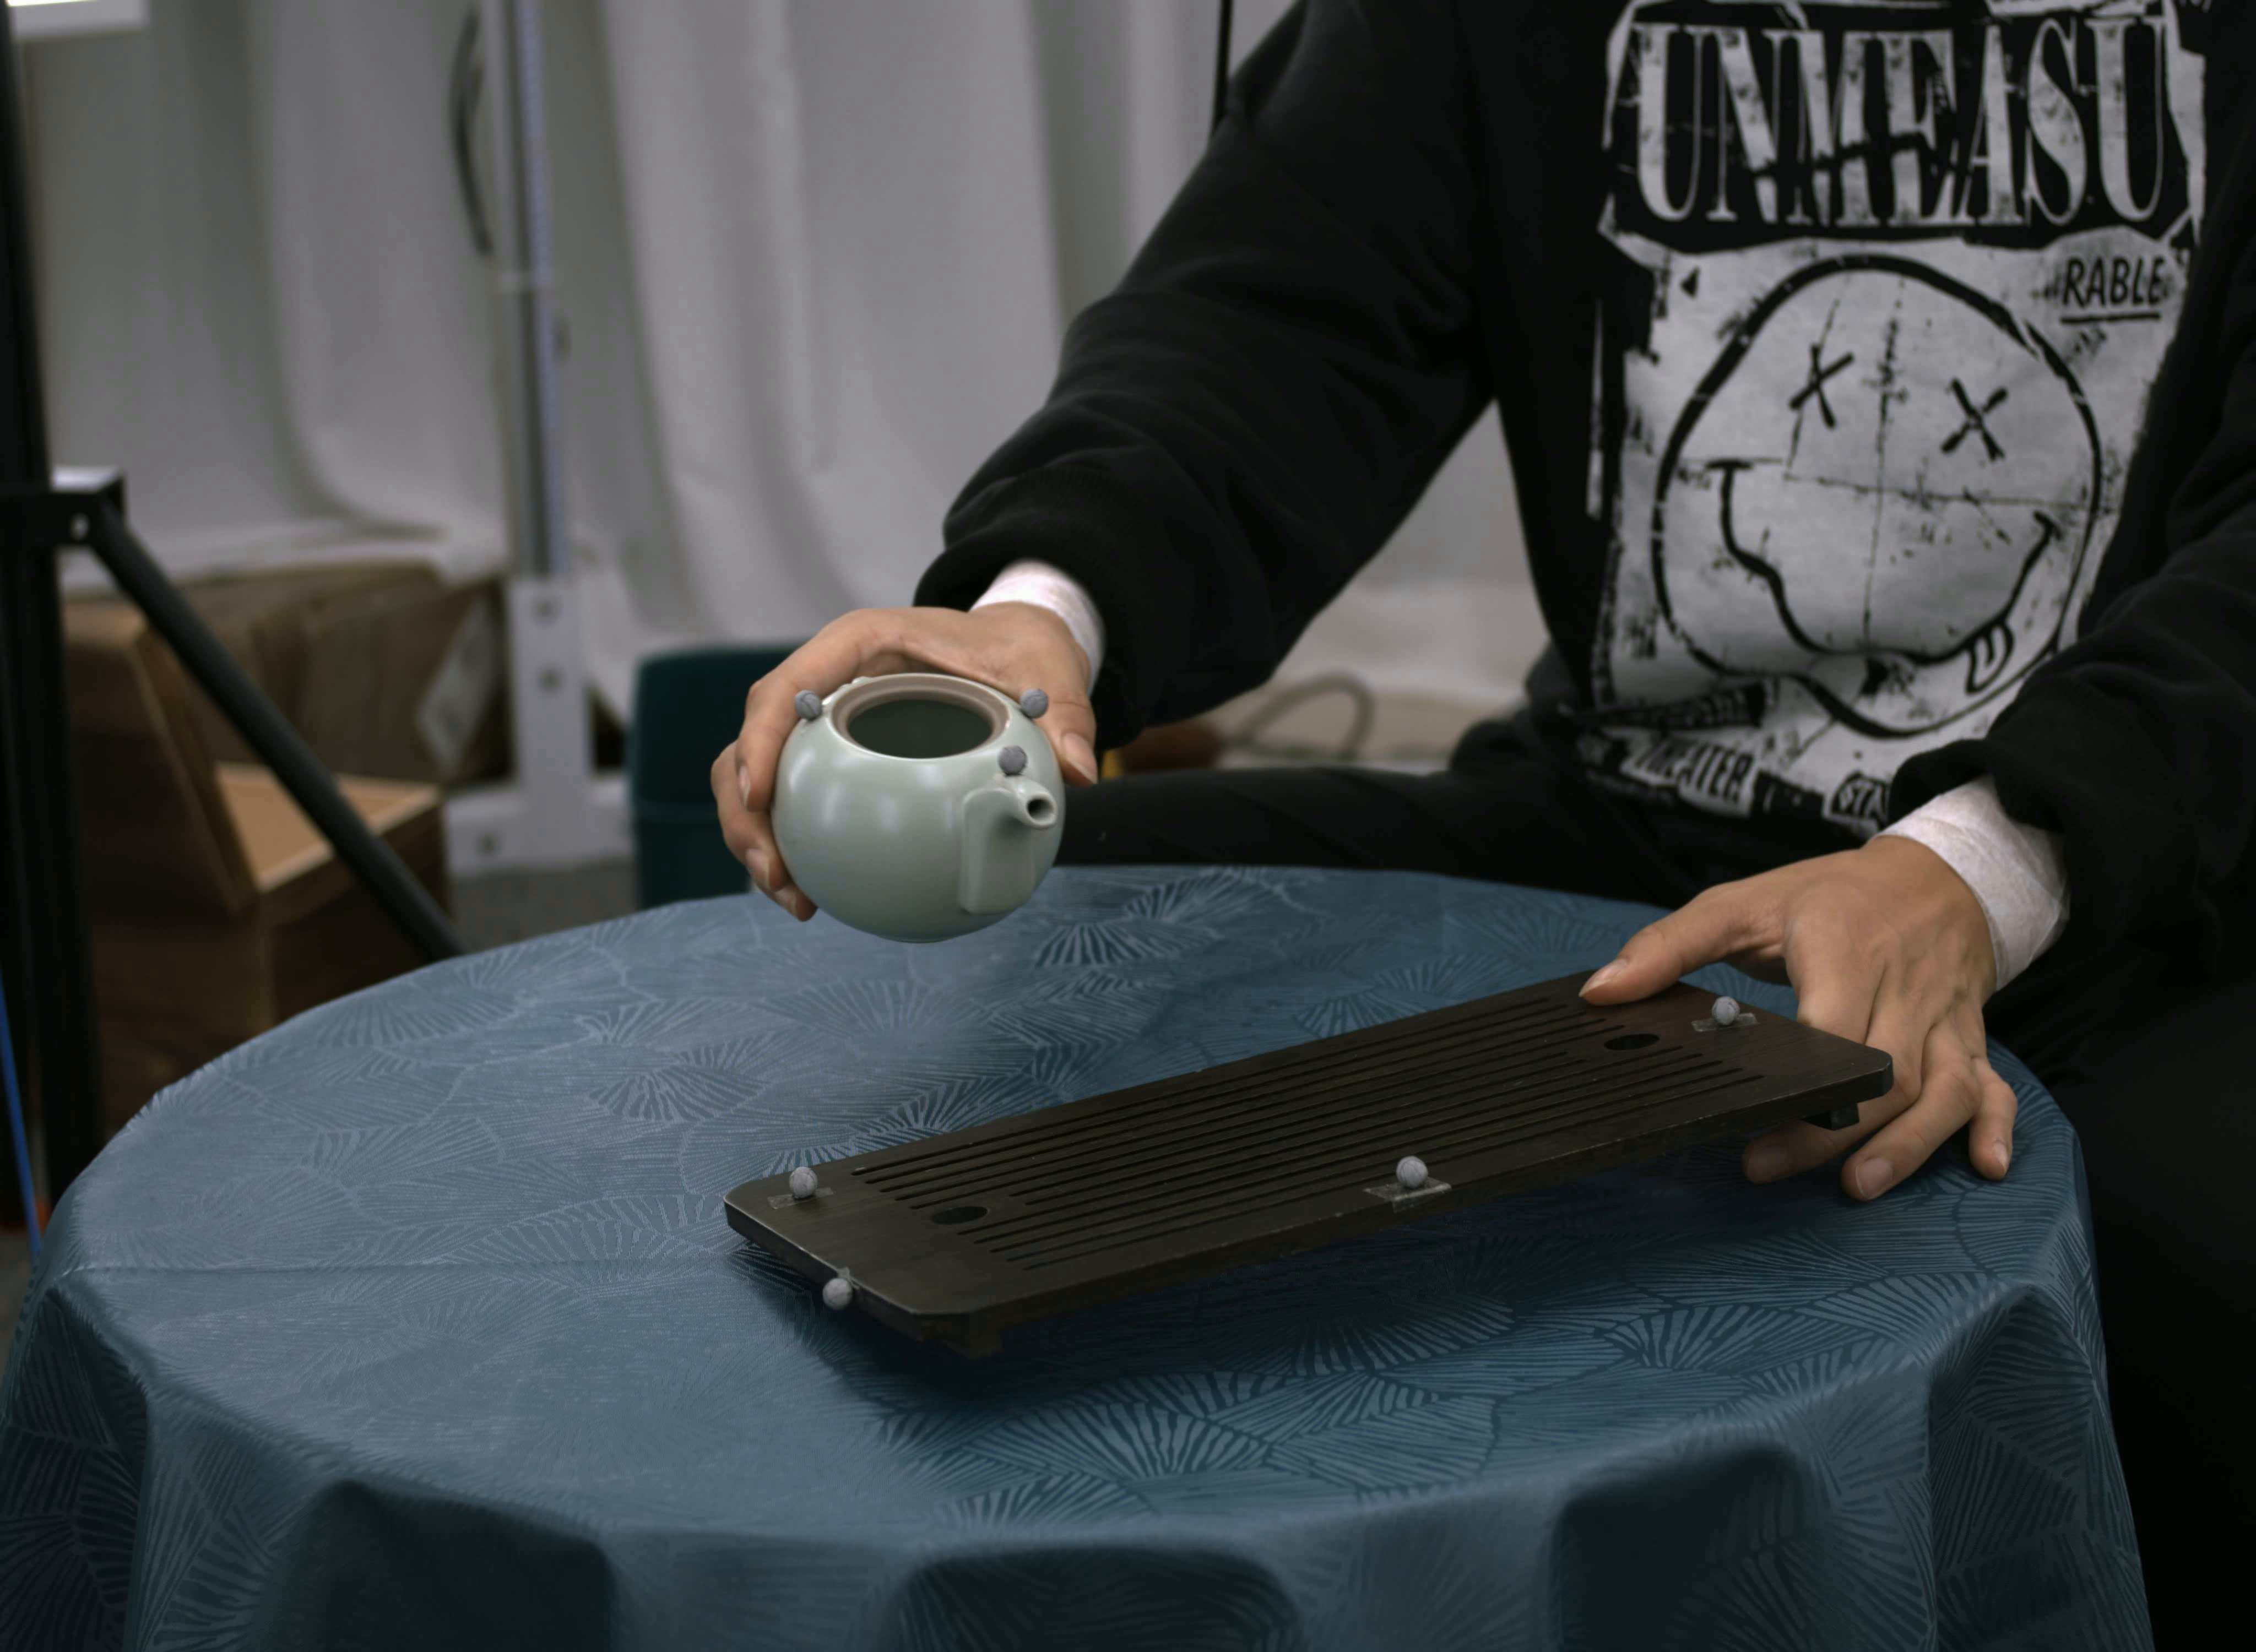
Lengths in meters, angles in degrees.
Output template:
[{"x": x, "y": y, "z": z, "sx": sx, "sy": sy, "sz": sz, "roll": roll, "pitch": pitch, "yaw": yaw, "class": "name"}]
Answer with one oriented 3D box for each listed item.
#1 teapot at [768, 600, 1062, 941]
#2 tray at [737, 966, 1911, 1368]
[{"x": -0.063, "y": -0.008, "z": 1.590, "sx": 0.086, "sy": 0.074, "sz": 0.147, "roll": -14, "pitch": 34, "yaw": -27, "class": "teapot"}, {"x": 0.055, "y": 0.094, "z": 1.504, "sx": 0.300, "sy": 0.018, "sz": 0.173, "roll": -13, "pitch": 13, "yaw": -20, "class": "tray"}]
